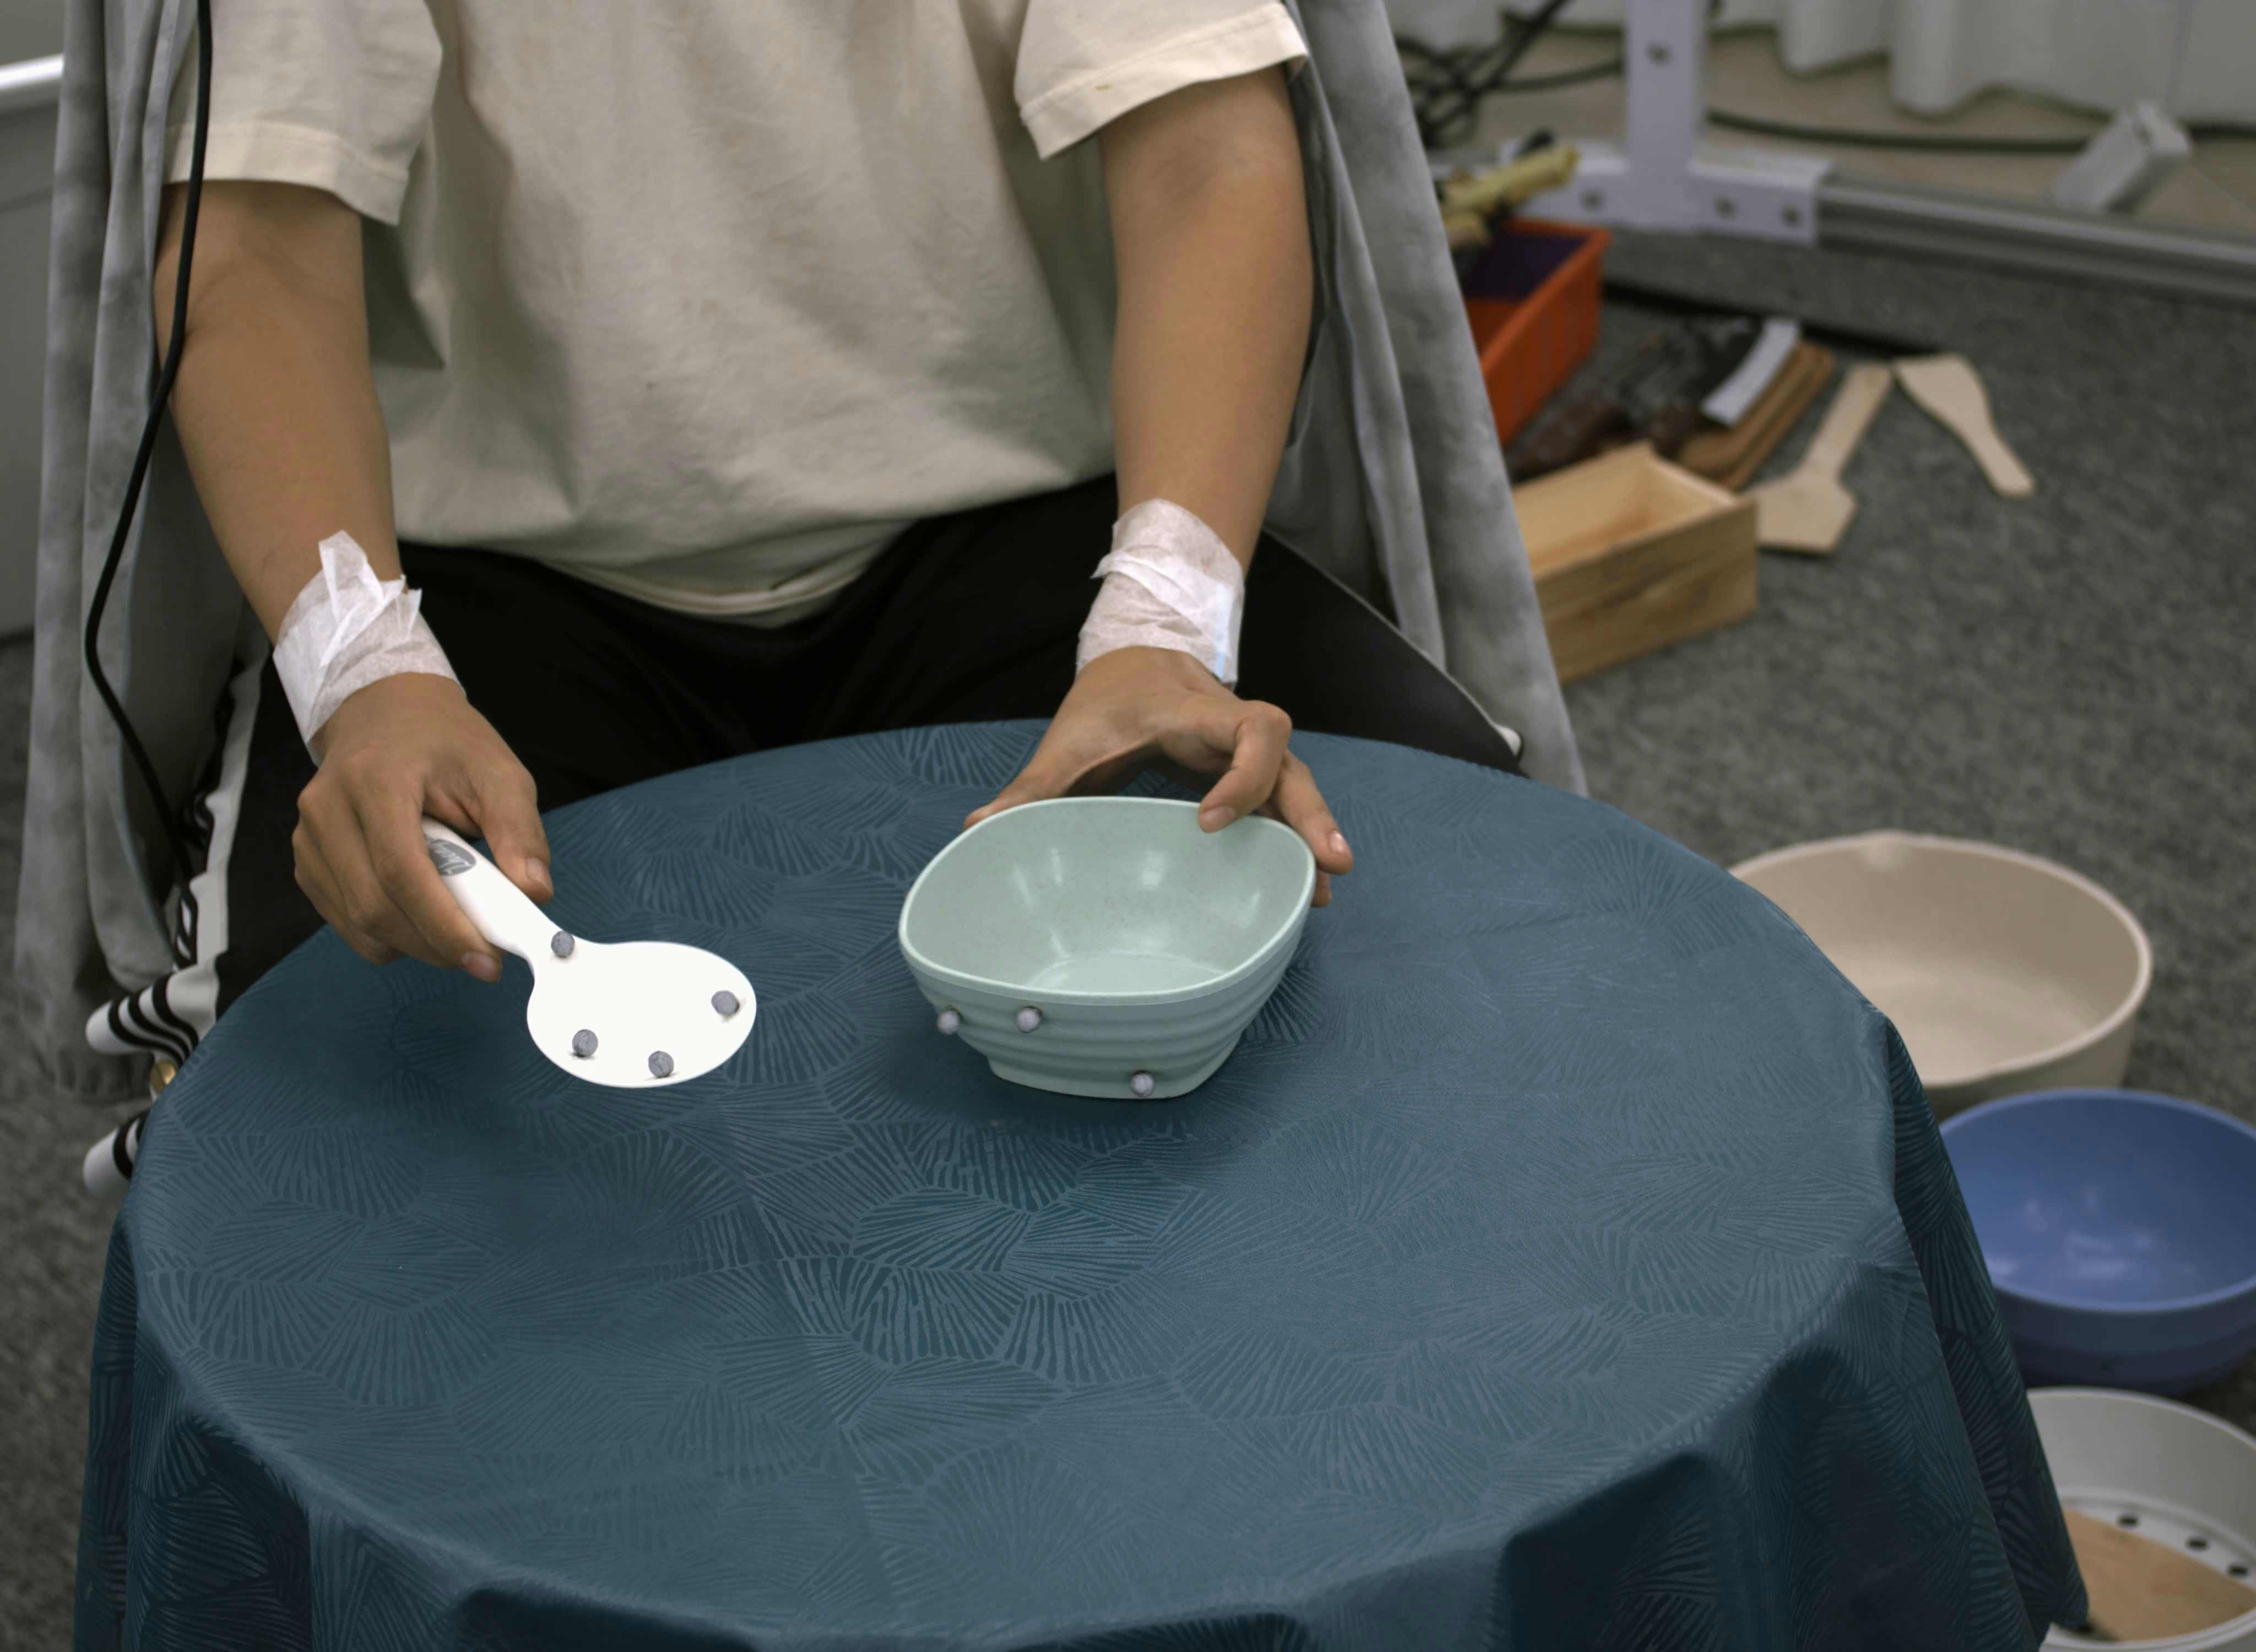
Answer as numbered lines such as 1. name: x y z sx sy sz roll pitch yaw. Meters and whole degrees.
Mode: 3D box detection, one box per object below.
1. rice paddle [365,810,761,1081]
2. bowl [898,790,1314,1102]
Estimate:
1. rice paddle: -0.190 0.040 1.869 0.069 0.029 0.205 -33 35 -24
2. bowl: -0.005 0.047 1.939 0.150 0.058 0.154 -5 29 3
